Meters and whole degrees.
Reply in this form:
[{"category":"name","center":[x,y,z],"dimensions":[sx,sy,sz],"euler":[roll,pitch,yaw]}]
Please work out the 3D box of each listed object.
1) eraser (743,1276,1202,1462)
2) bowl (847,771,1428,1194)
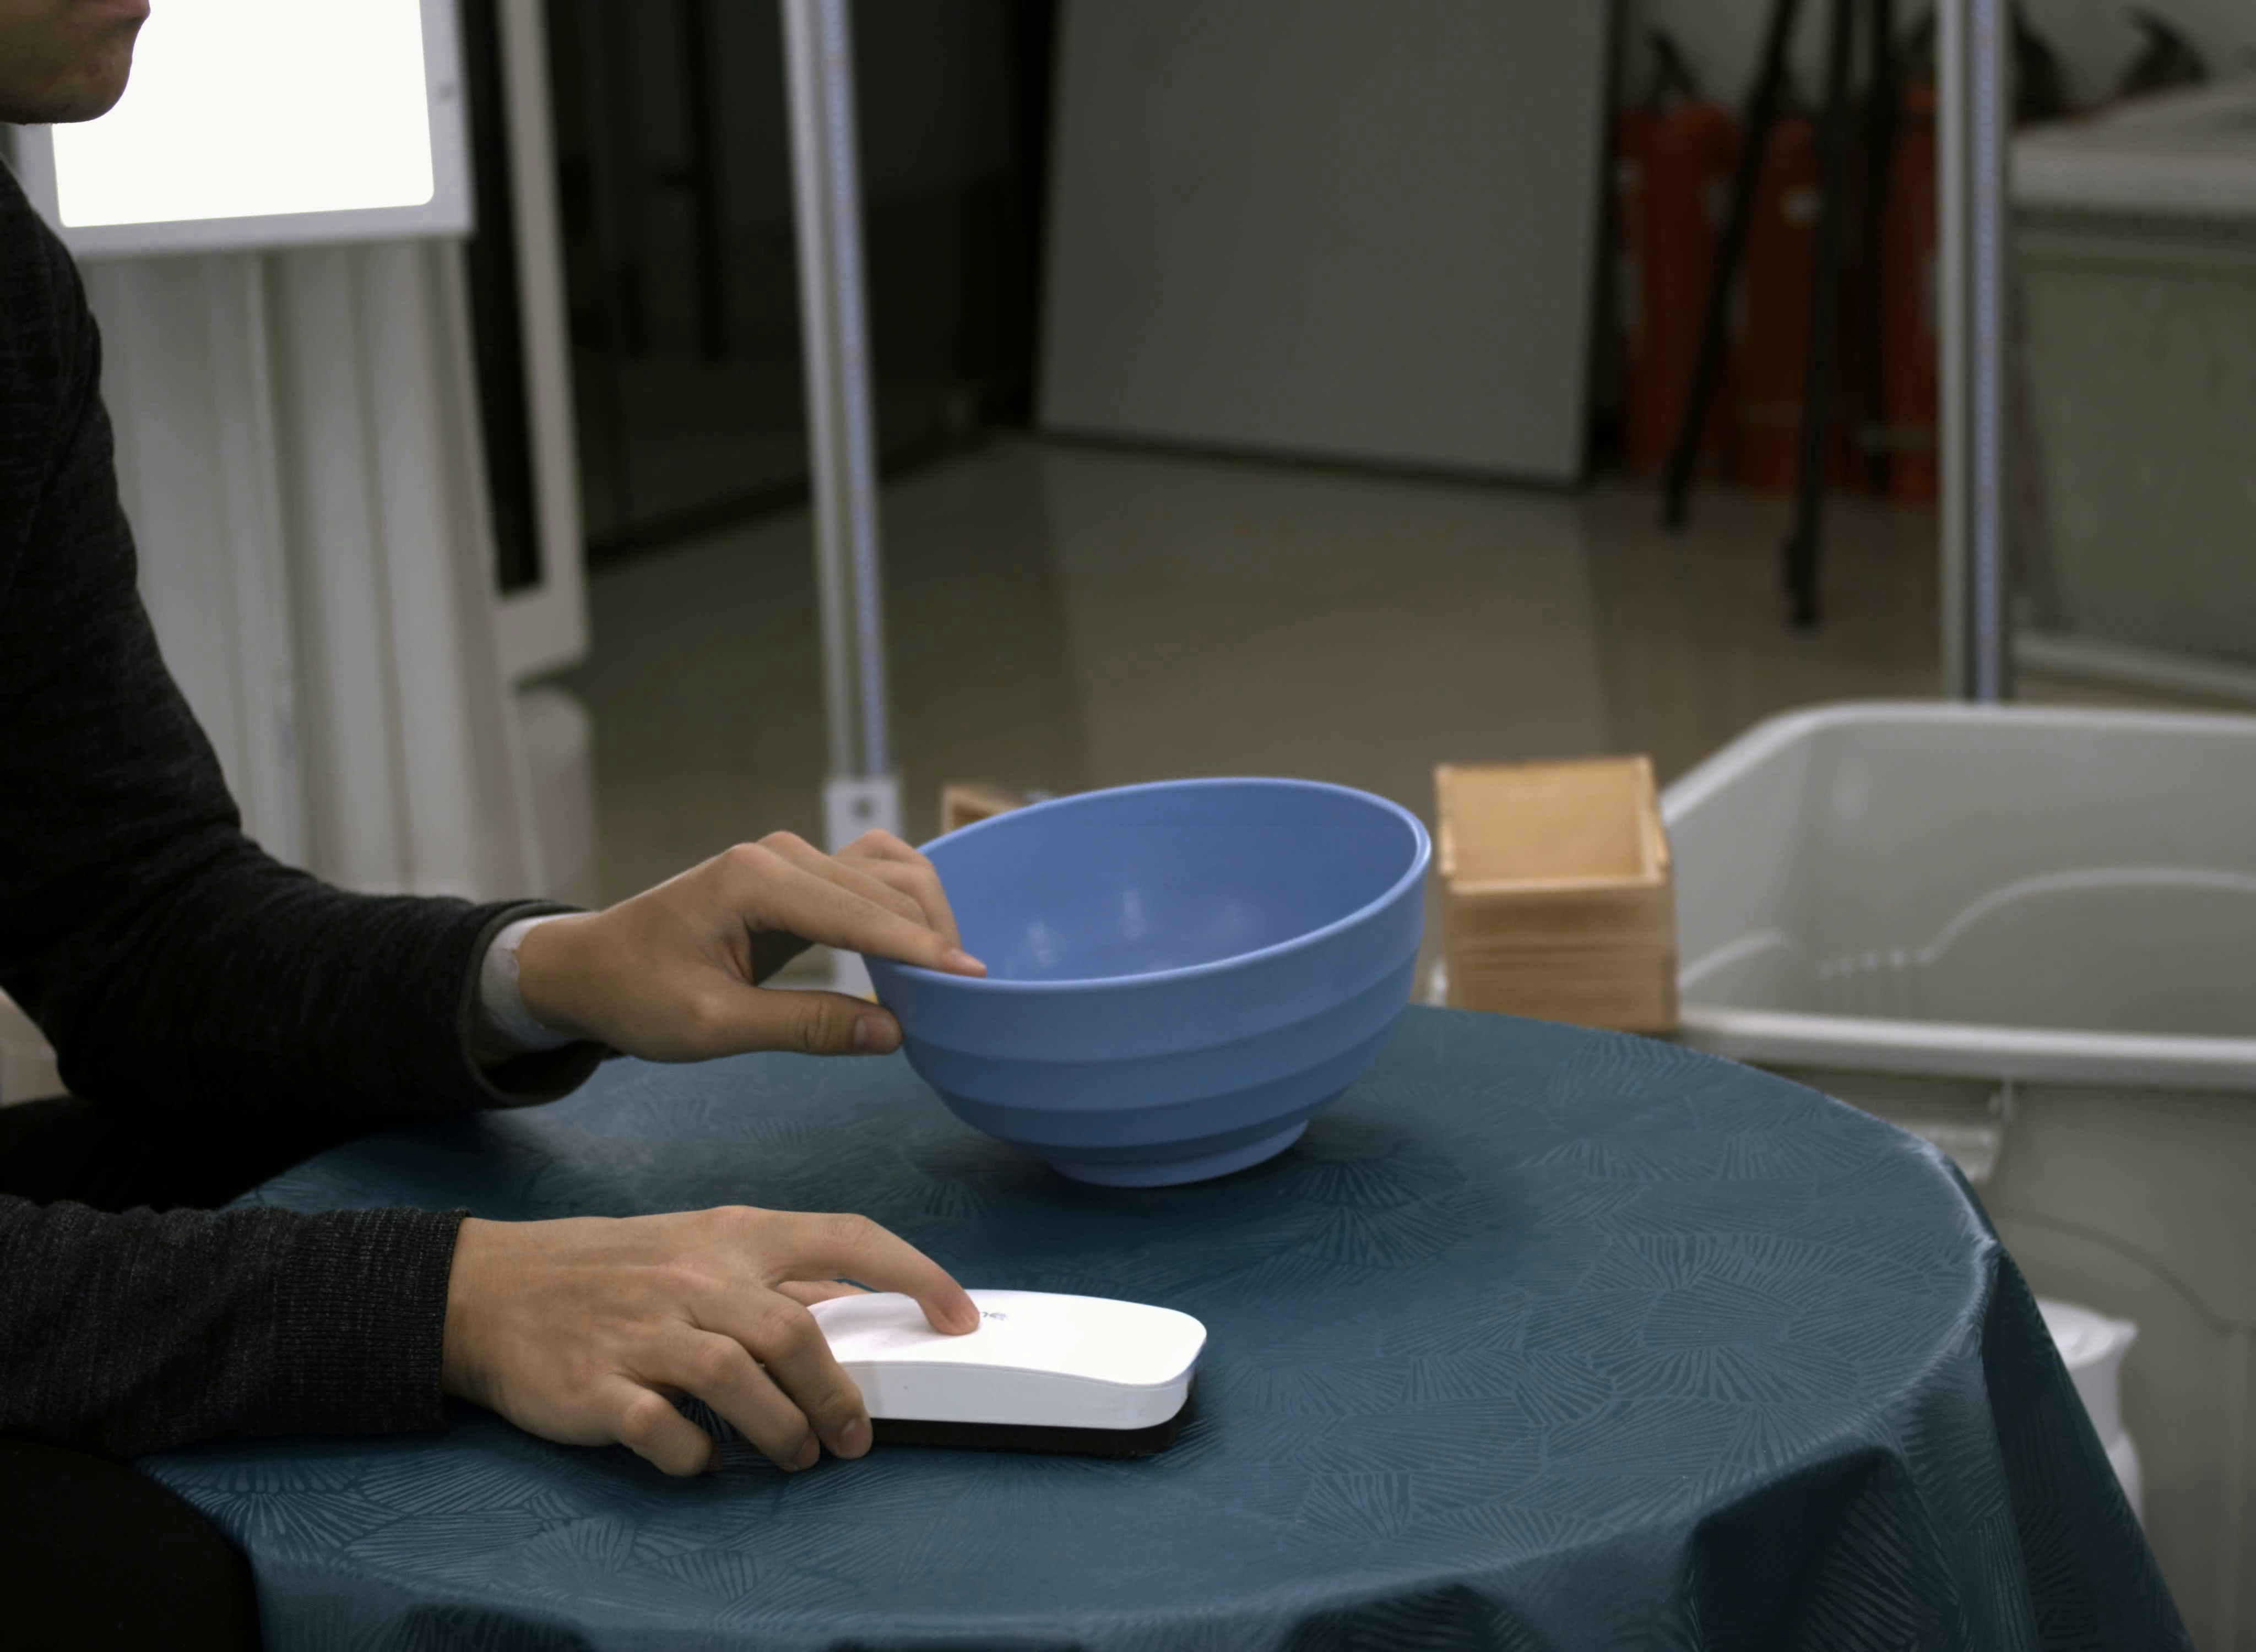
[{"category":"eraser","center":[-0.044,0.158,1.568],"dimensions":[0.131,0.035,0.063],"euler":[1,14,18]},{"category":"bowl","center":[0.009,0.061,1.795],"dimensions":[0.194,0.096,0.197],"euler":[-9,19,2]}]
